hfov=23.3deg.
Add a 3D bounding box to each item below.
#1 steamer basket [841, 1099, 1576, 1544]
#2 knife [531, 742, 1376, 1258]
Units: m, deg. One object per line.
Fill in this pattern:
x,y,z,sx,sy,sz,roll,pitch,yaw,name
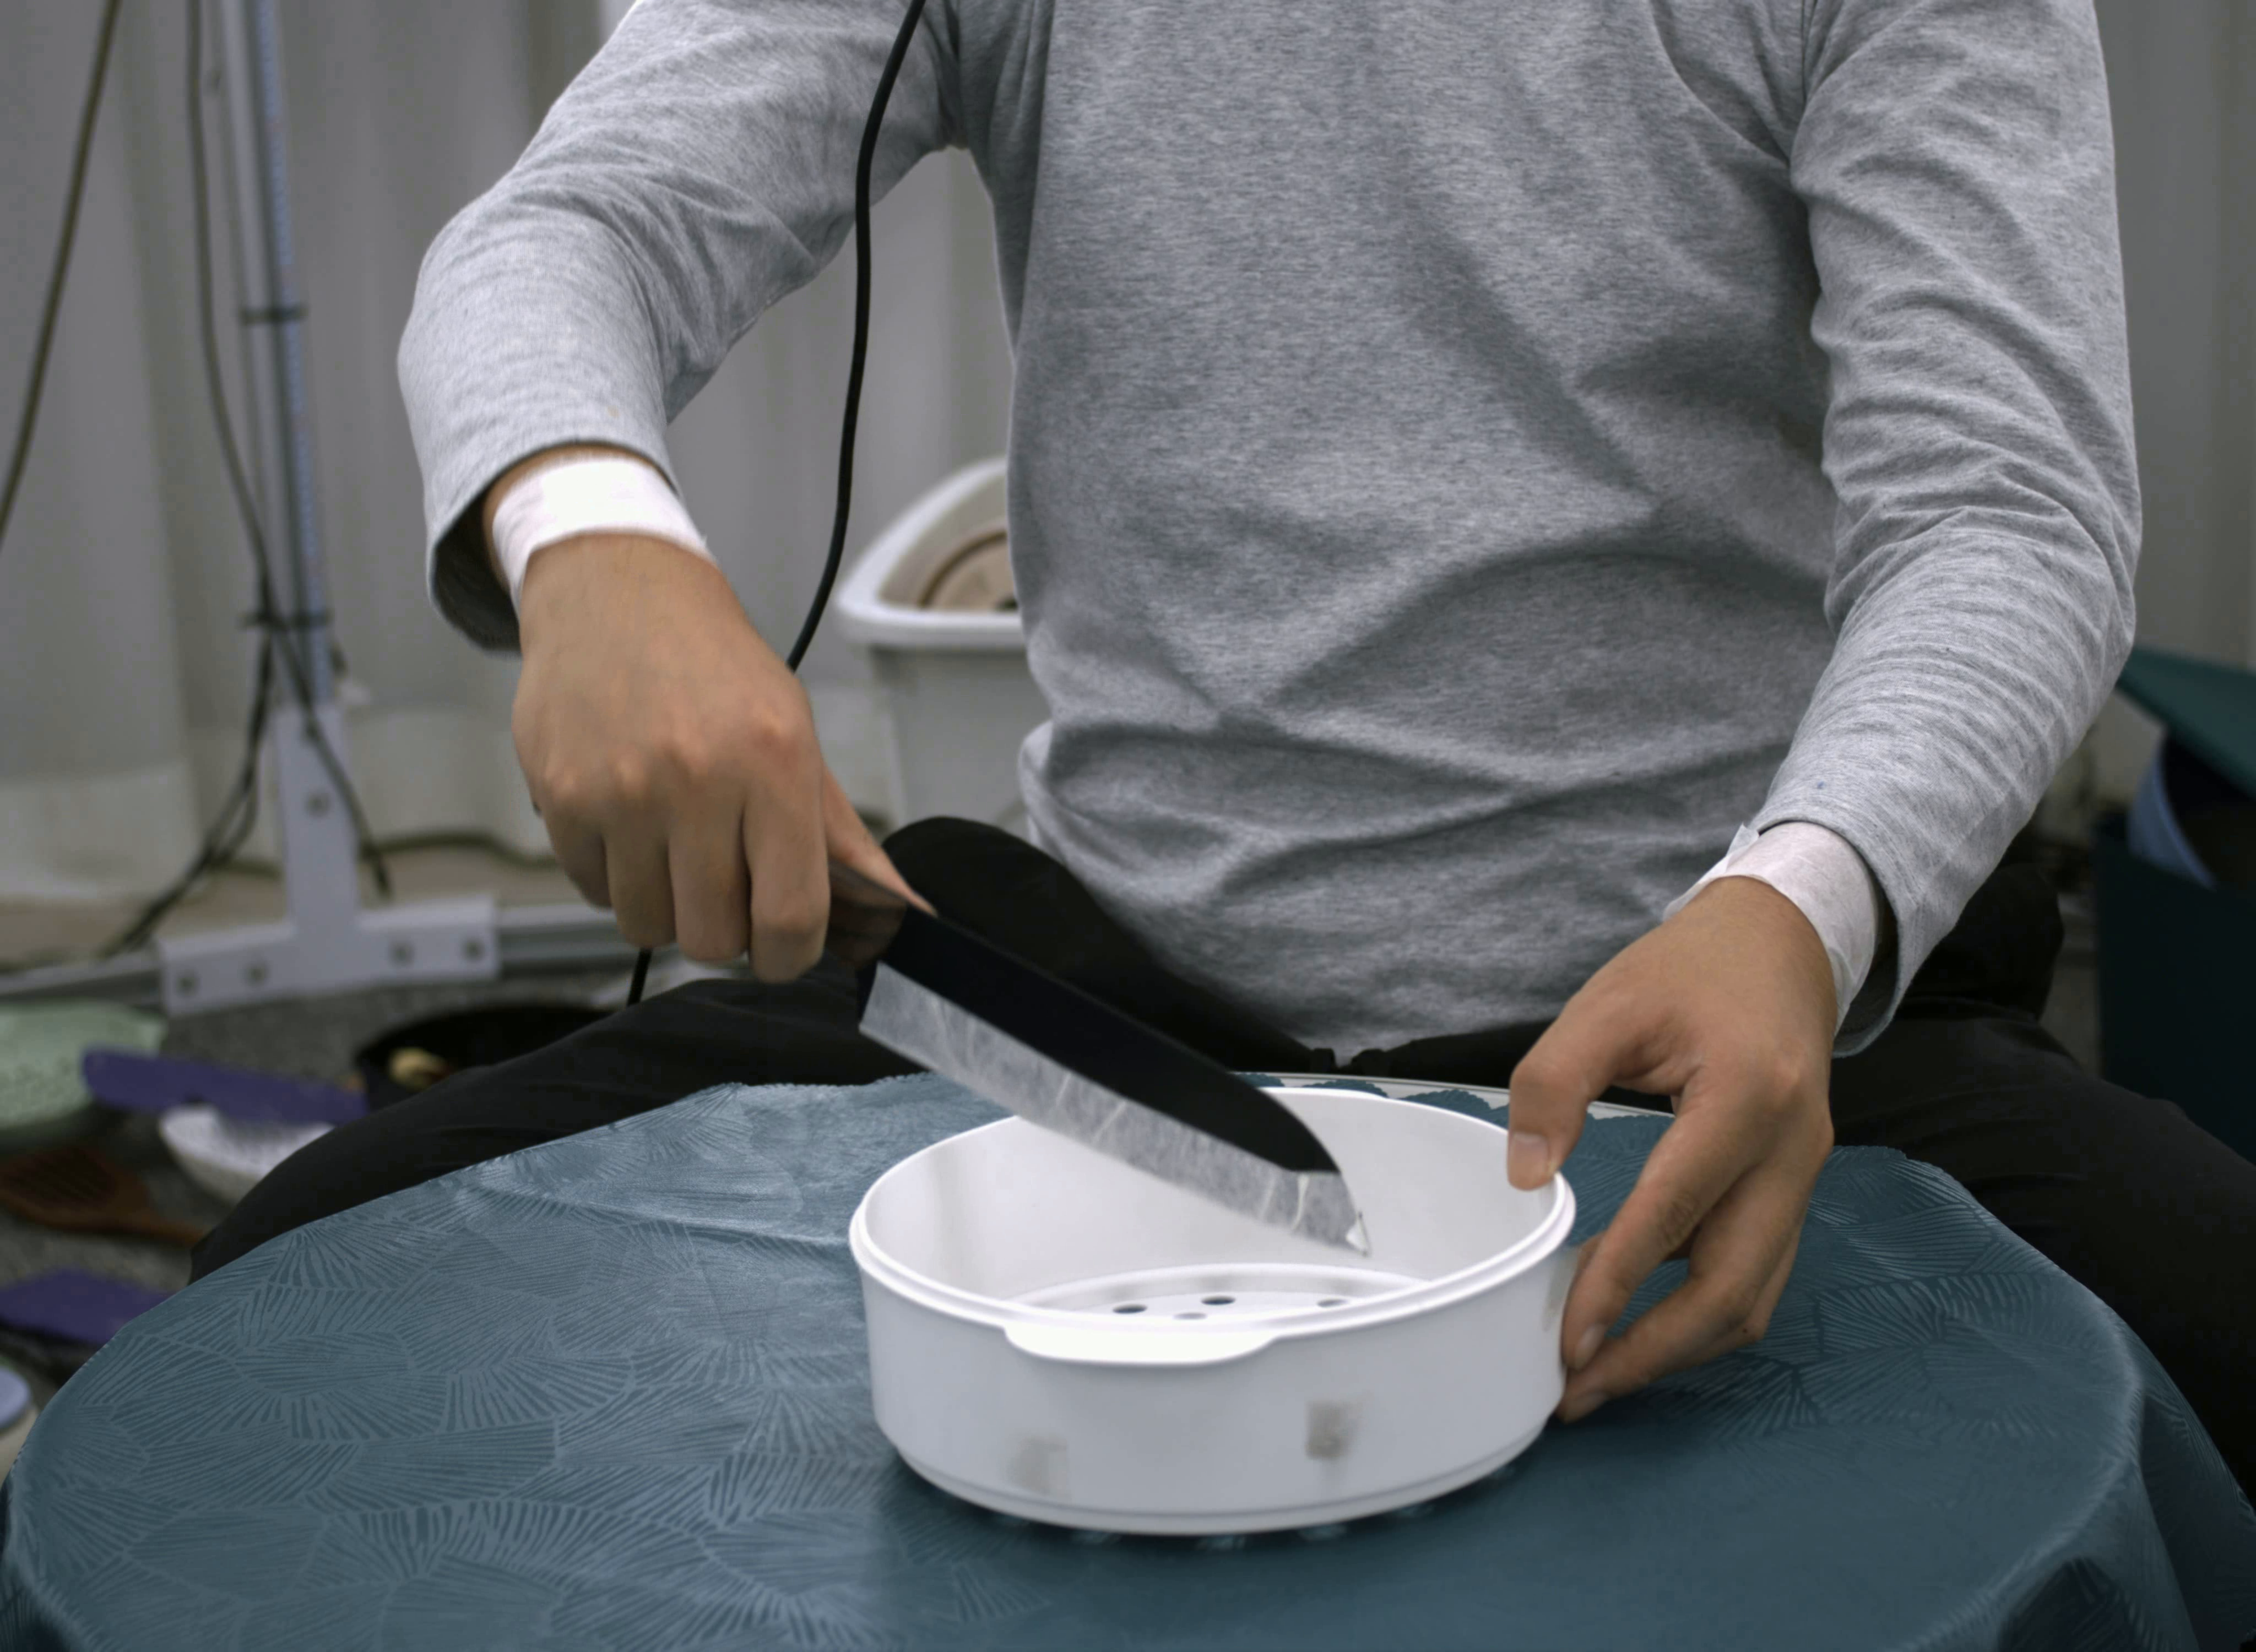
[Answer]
0.023,0.136,1.505,0.201,0.069,0.231,1,14,13,steamer basket
-0.051,0.048,1.535,0.290,0.050,0.020,29,28,20,knife
